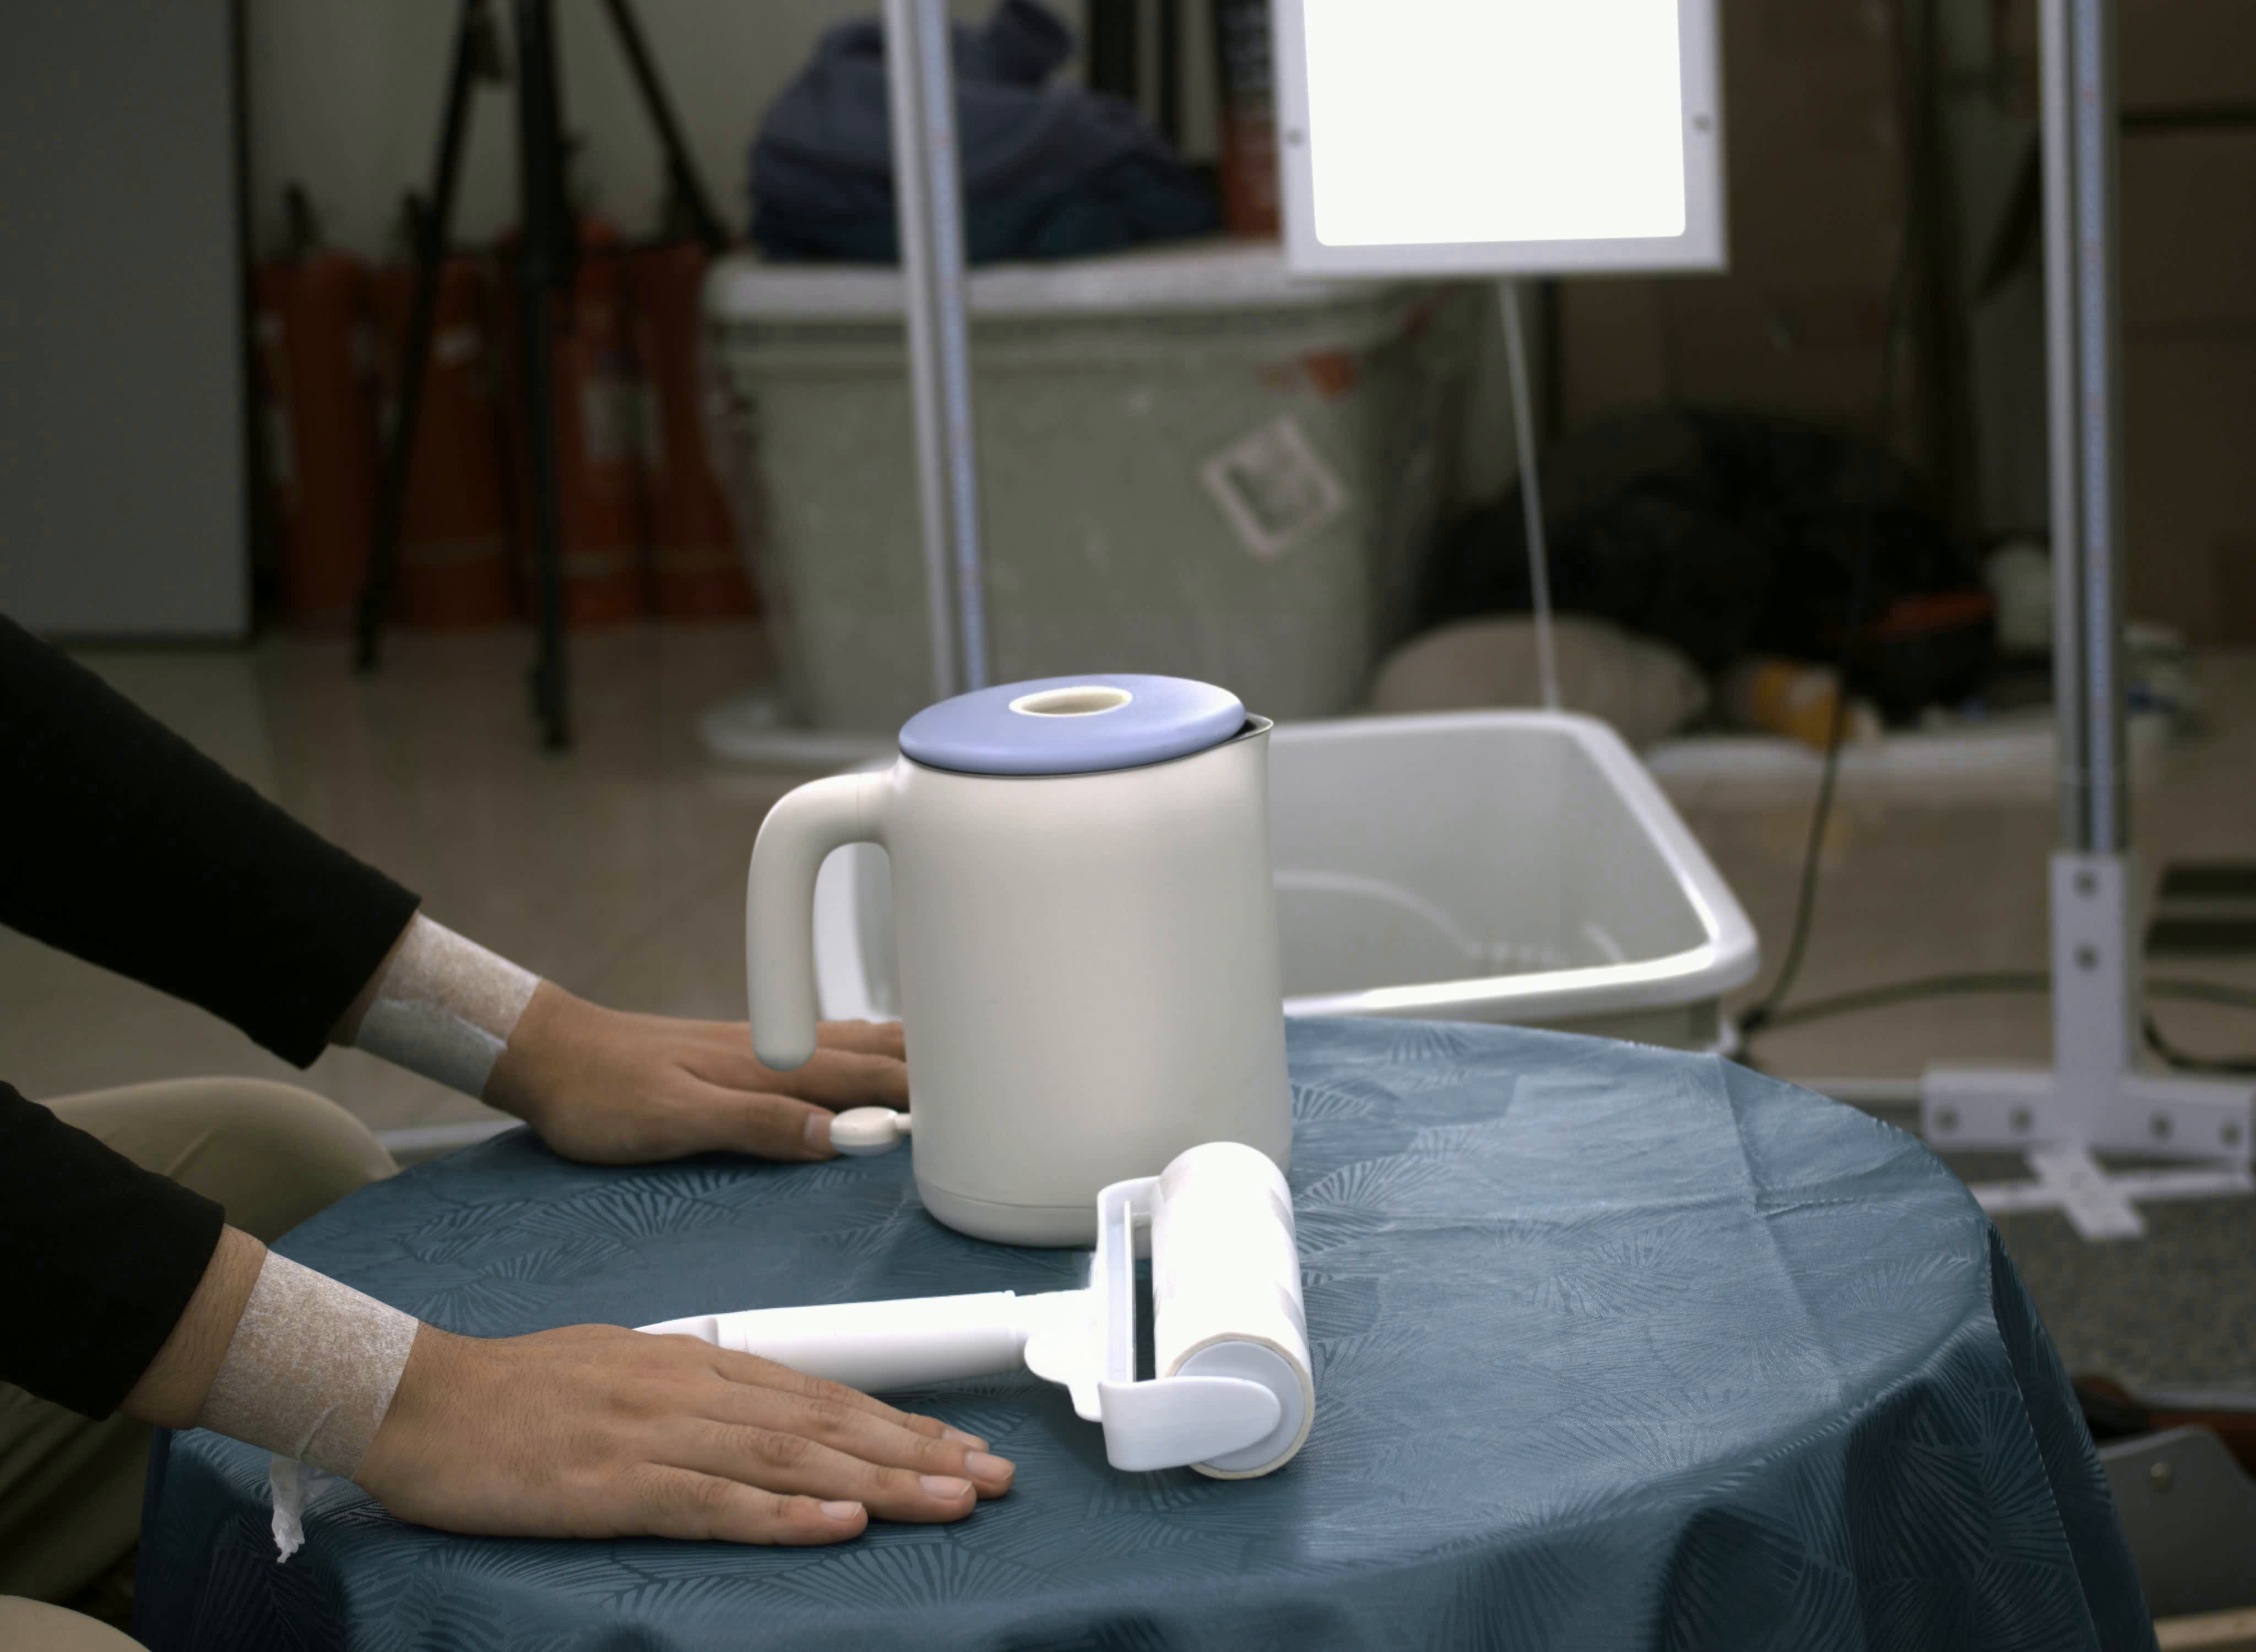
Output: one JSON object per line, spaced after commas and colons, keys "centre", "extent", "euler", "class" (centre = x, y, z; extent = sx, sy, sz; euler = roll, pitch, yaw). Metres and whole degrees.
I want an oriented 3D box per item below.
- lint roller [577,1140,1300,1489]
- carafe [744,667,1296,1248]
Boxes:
{"centre": [-0.060, 0.157, 1.707], "extent": [0.225, 0.048, 0.202], "euler": [-6, 15, 2], "class": "lint roller"}
{"centre": [-0.037, 0.046, 1.879], "extent": [0.192, 0.183, 0.131], "euler": [-5, 13, 8], "class": "carafe"}
